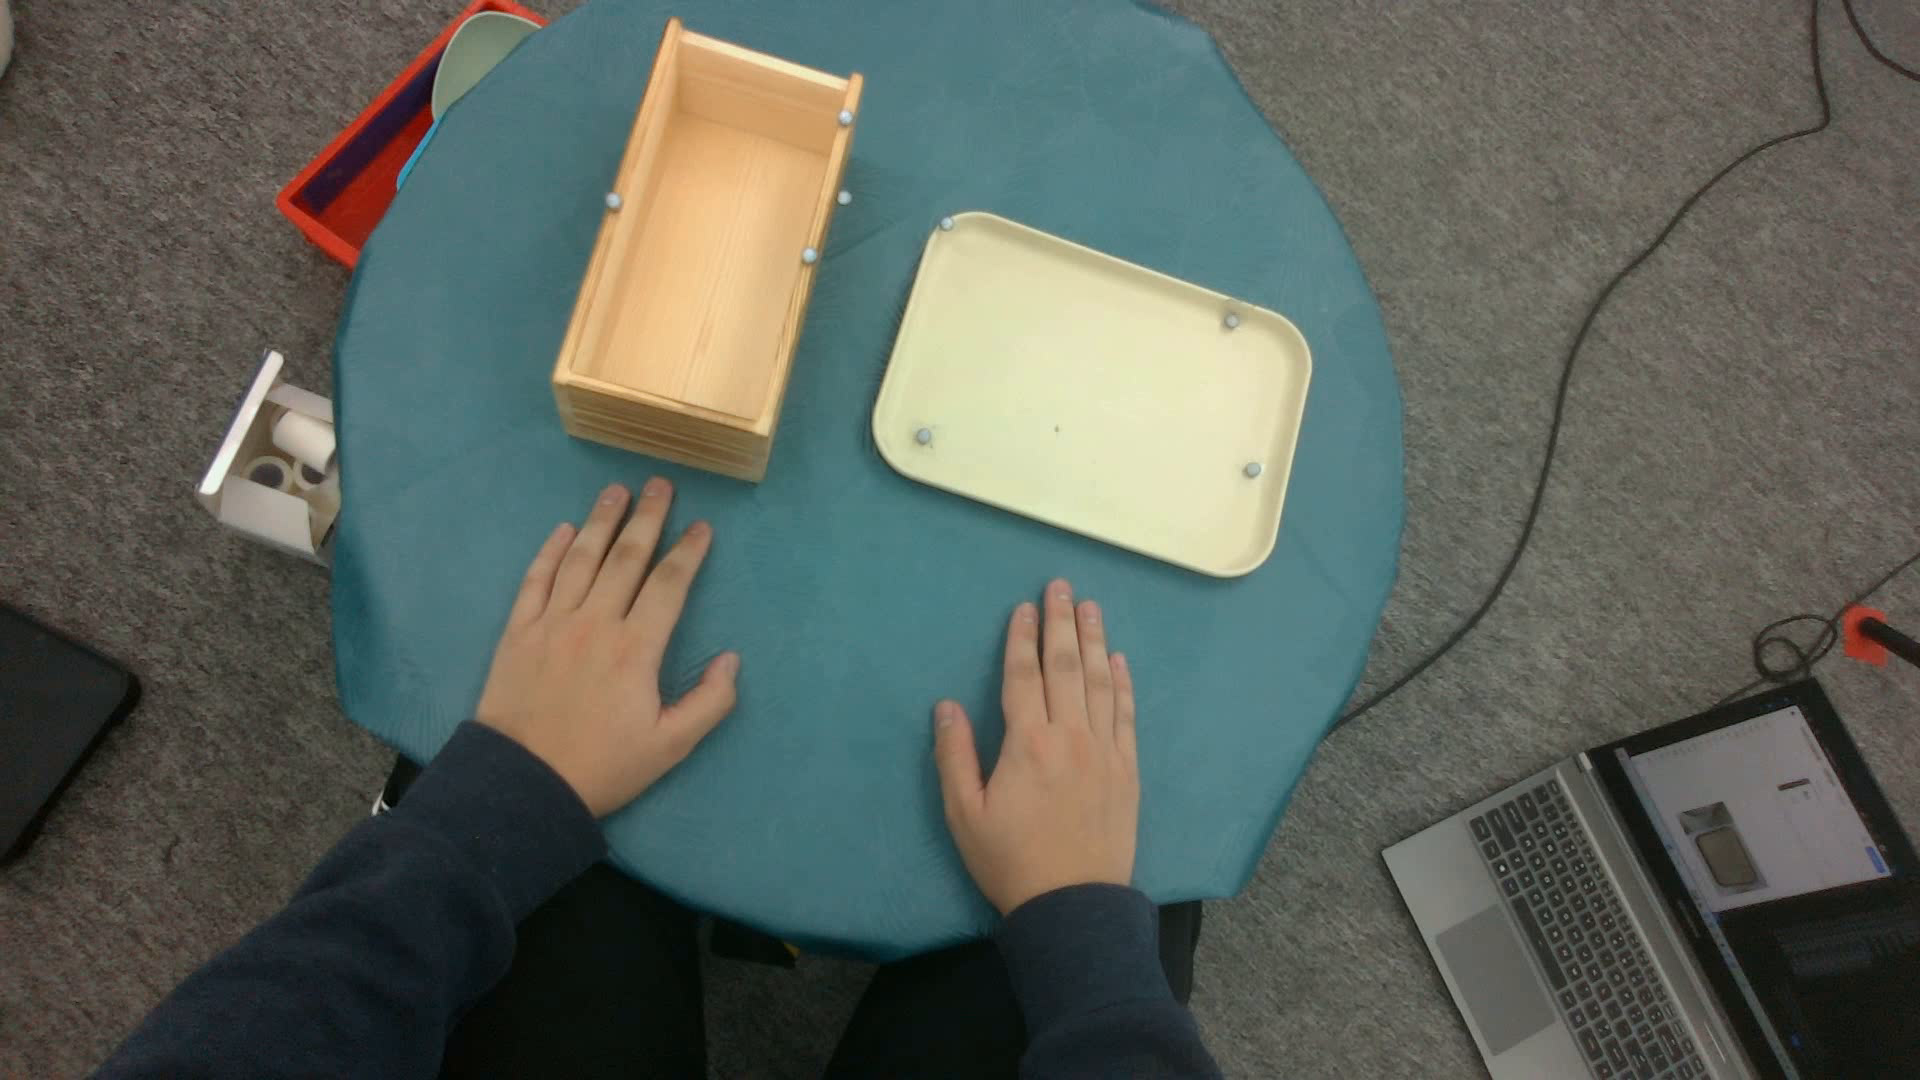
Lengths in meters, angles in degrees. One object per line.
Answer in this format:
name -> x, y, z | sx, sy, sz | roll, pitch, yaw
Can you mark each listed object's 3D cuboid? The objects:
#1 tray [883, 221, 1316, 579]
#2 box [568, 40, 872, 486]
tray -> 0.084, -0.082, 0.801 | 0.240, 0.017, 0.172 | 18, 72, -5
box -> -0.126, -0.149, 0.748 | 0.107, 0.080, 0.212 | 14, 72, -6
